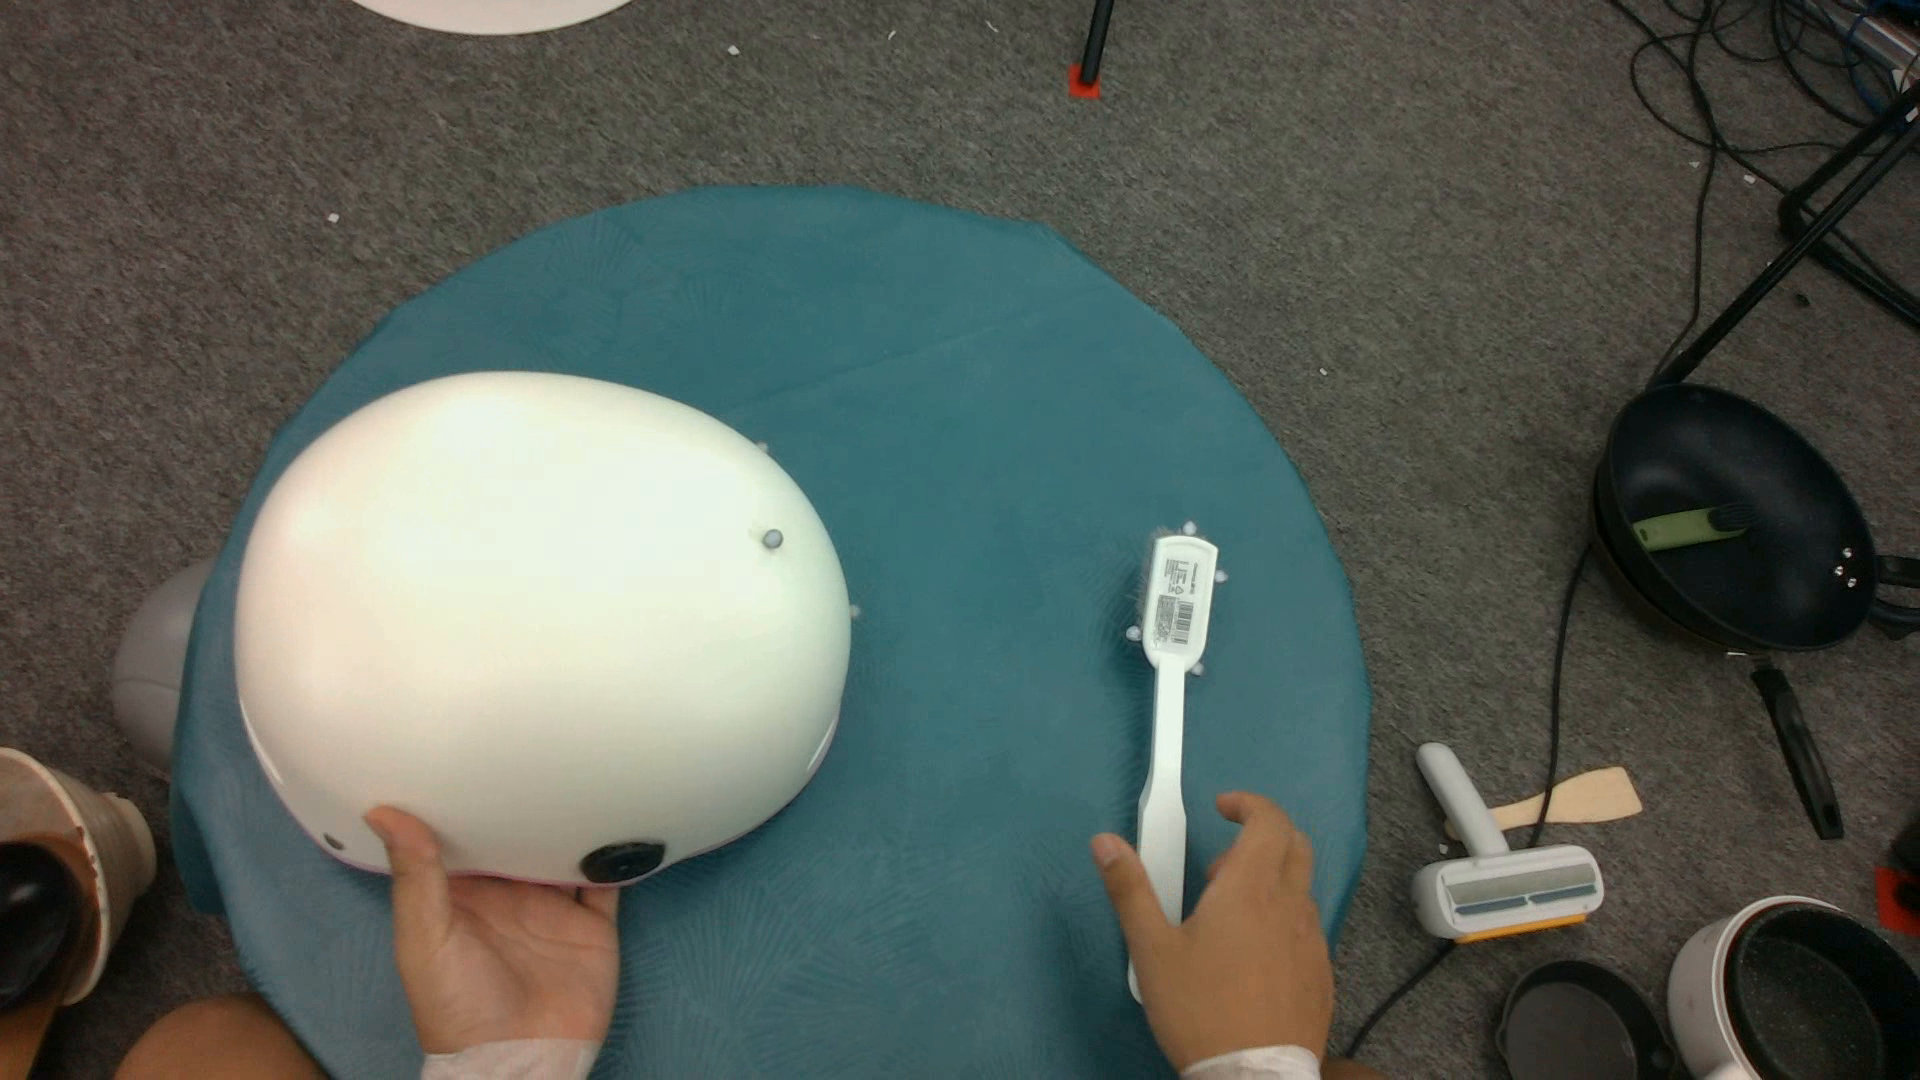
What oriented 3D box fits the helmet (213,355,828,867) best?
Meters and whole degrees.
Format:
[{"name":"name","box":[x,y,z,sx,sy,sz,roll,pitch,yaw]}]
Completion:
[{"name":"helmet","box":[-0.186,0.016,0.607,0.269,0.166,0.238,-2,59,-15]}]

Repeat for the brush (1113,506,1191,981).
[{"name":"brush","box":[0.094,0.097,0.705,0.034,0.050,0.244,5,74,-3]}]
